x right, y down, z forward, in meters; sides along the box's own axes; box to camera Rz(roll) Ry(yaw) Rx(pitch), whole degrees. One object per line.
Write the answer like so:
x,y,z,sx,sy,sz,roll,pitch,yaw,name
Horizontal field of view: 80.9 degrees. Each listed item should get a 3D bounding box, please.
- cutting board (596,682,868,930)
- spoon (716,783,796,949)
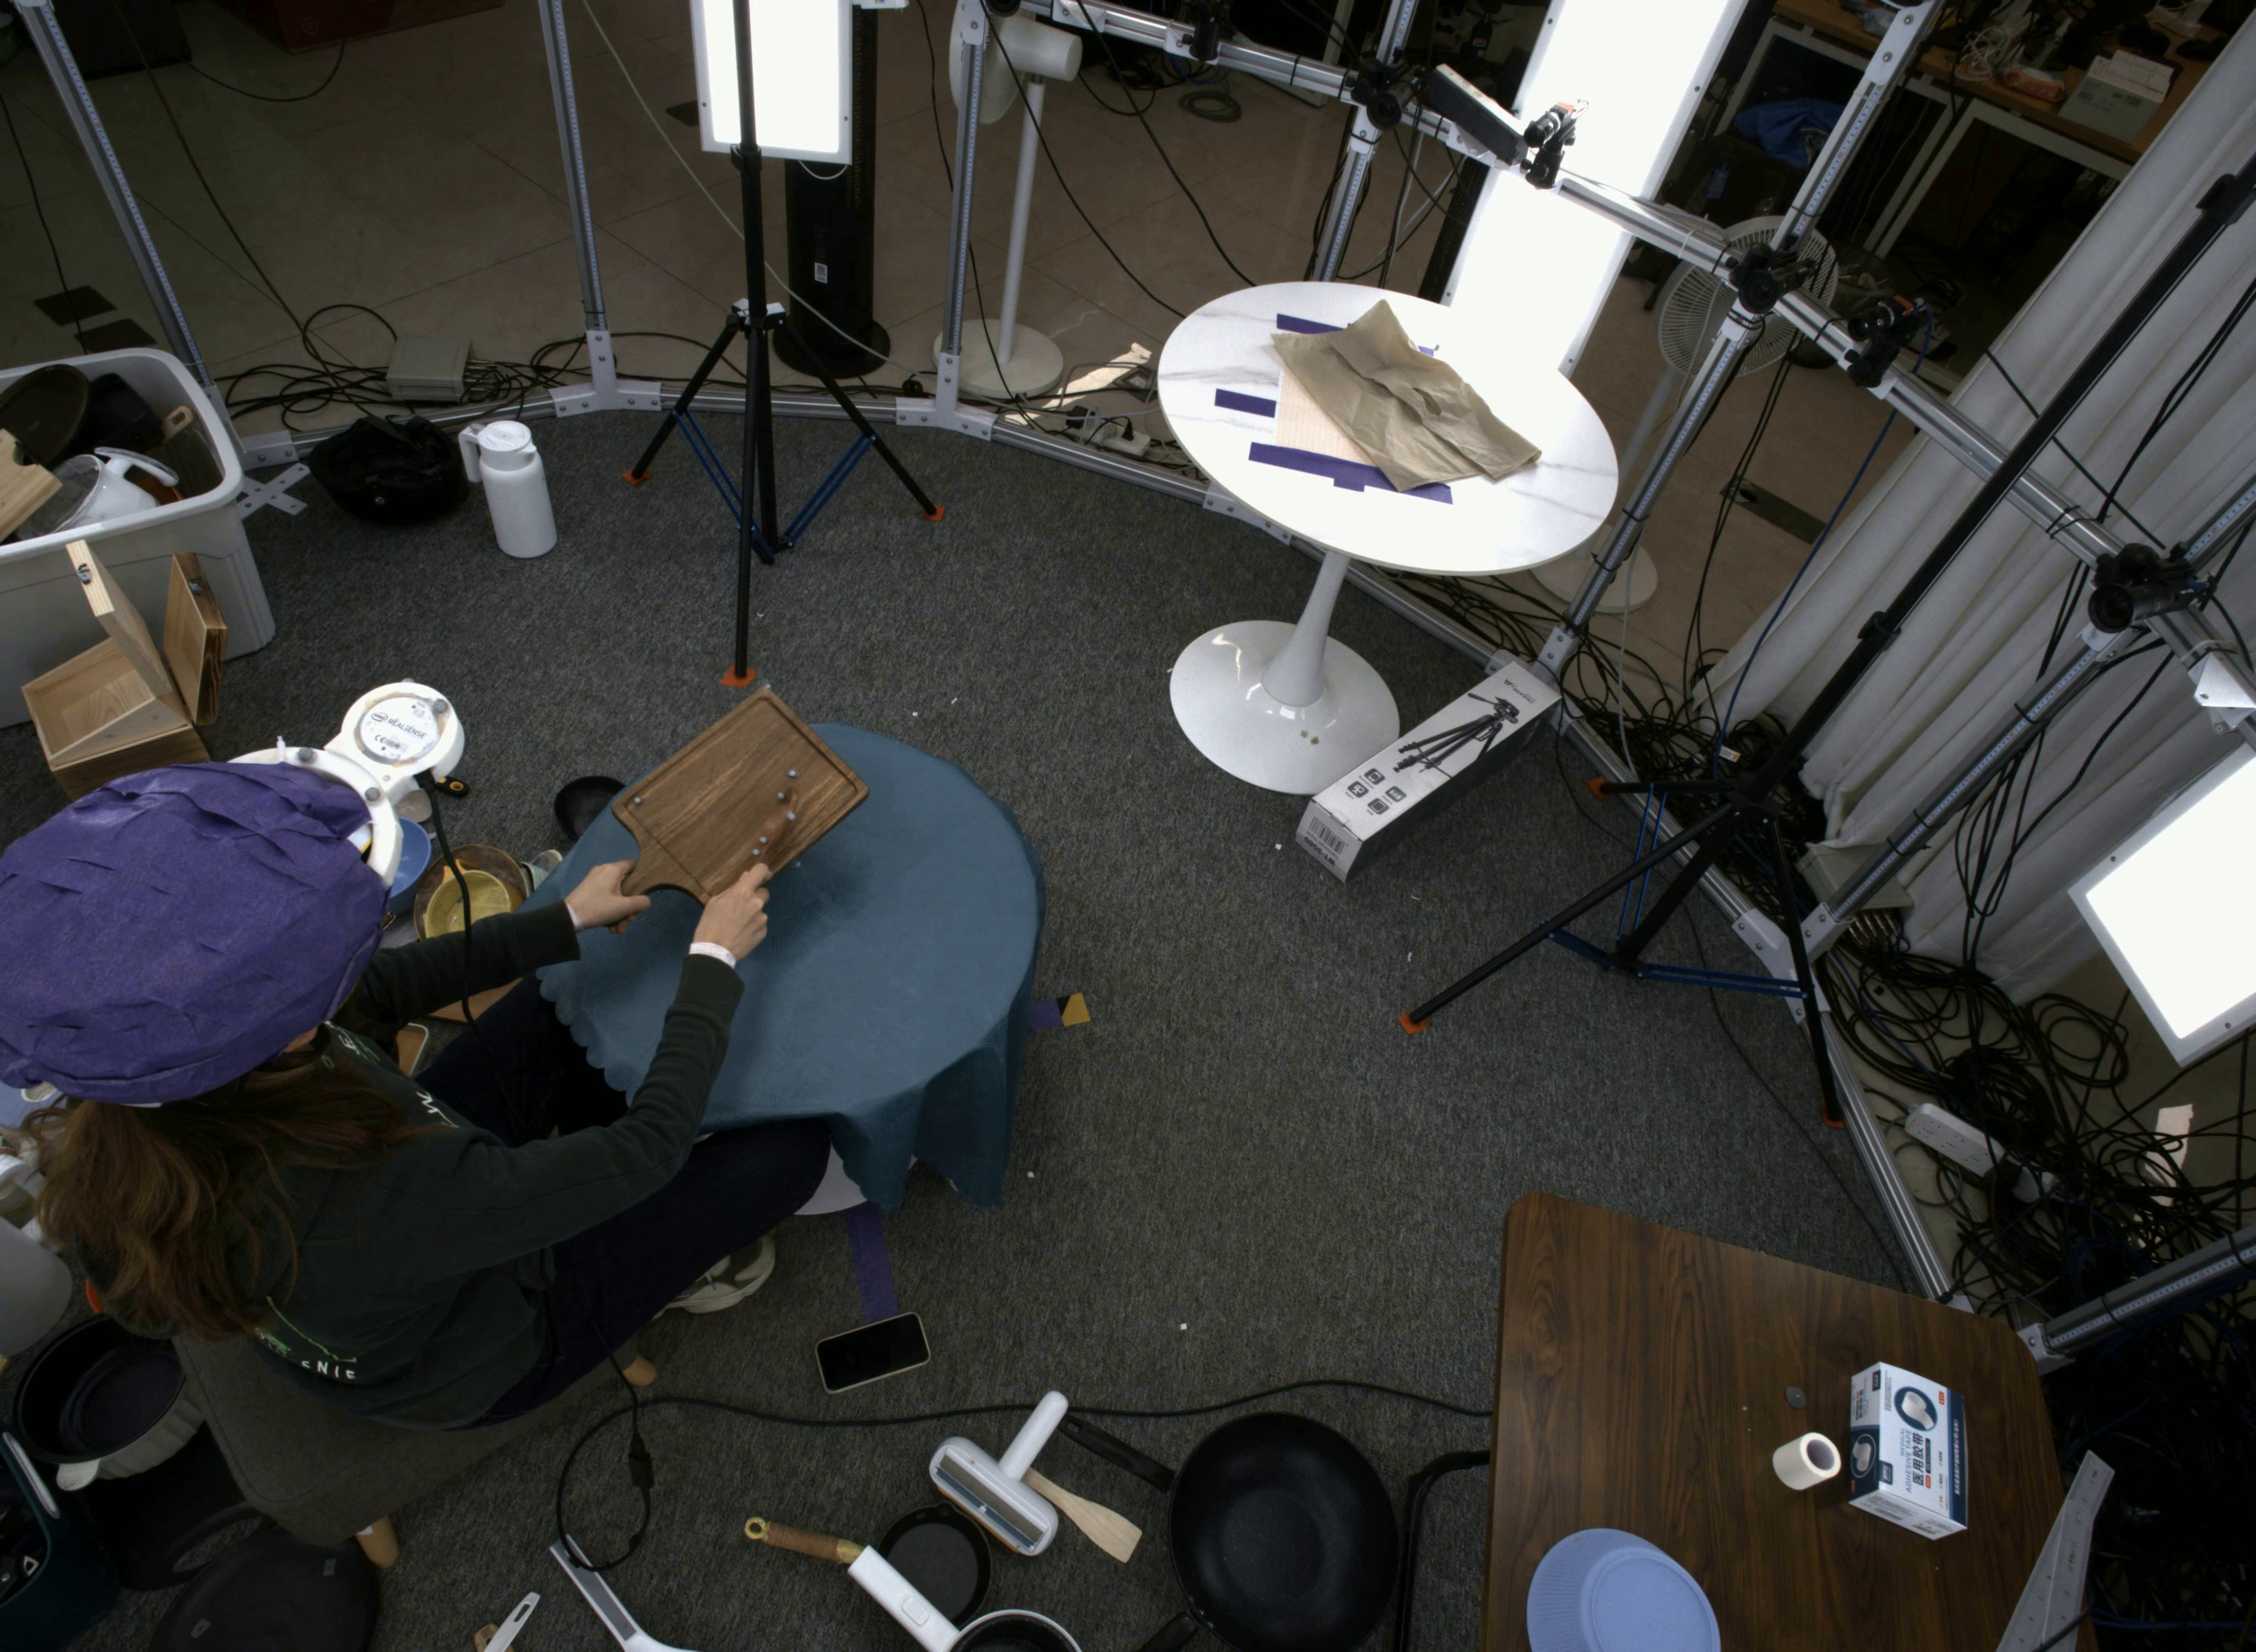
-0.506,-0.003,1.563,0.201,0.023,0.352,45,65,0,cutting board
-0.431,0.043,1.499,0.018,0.074,0.214,35,55,-31,spoon
